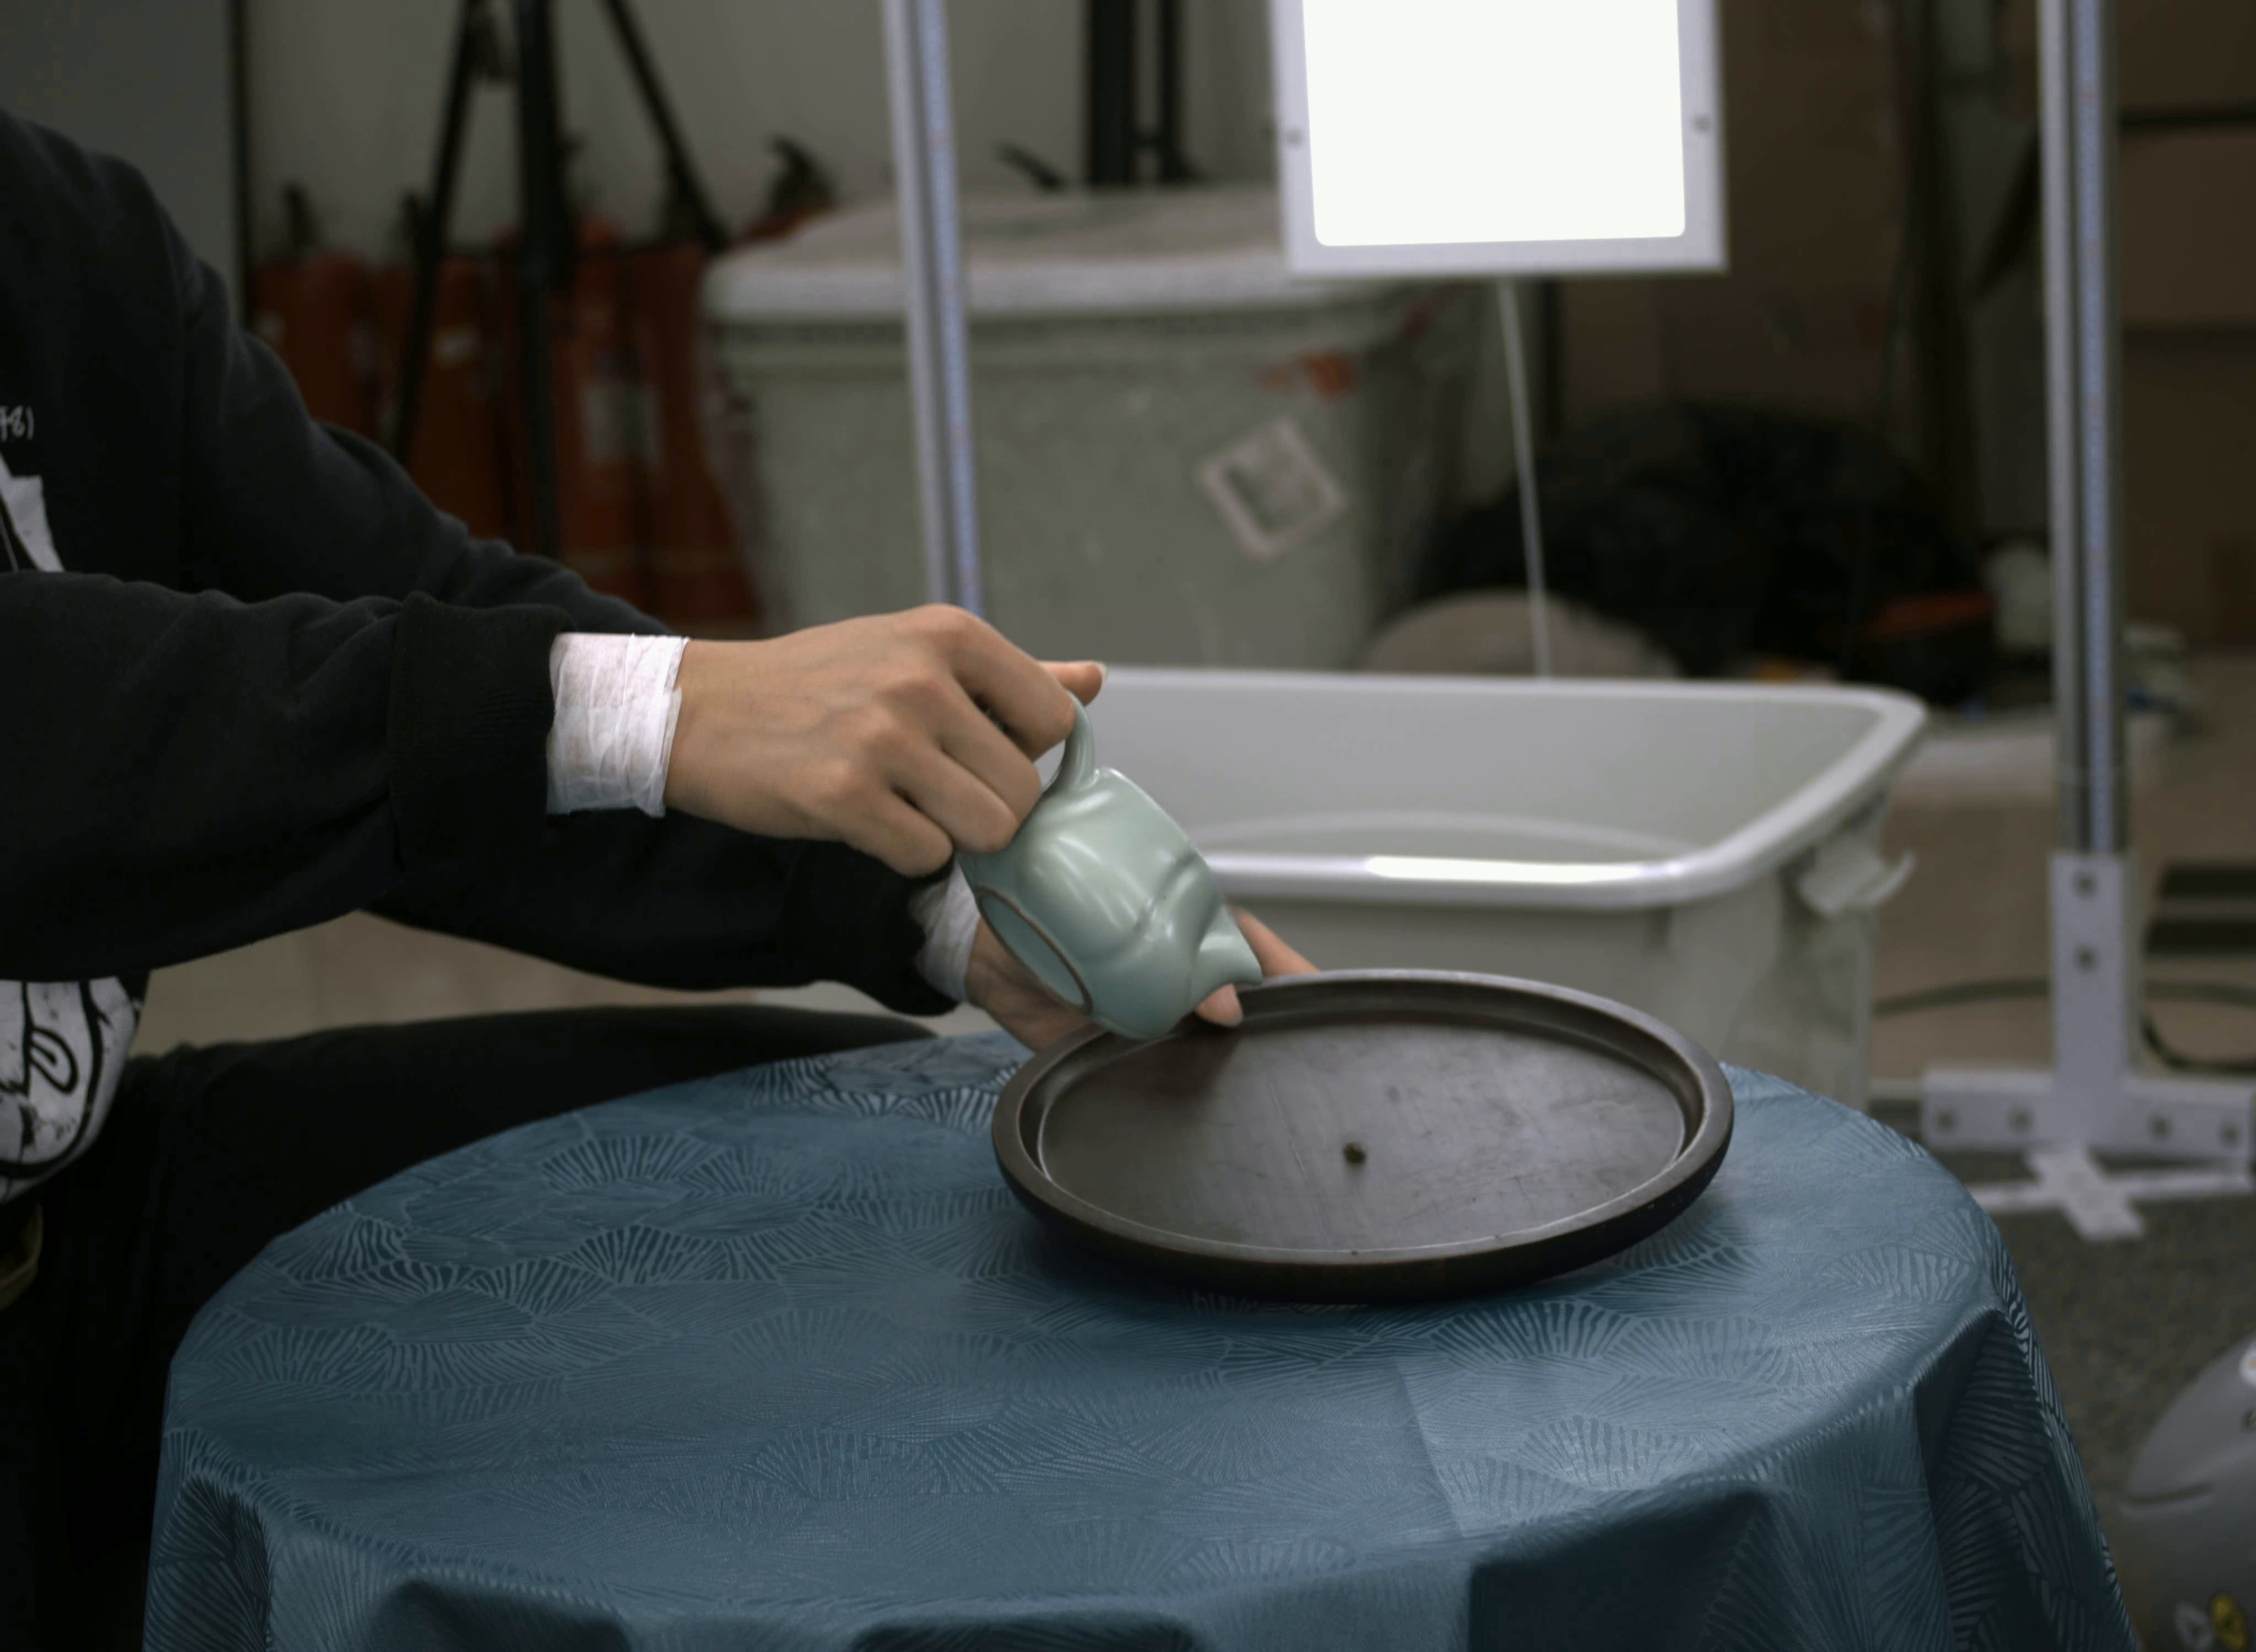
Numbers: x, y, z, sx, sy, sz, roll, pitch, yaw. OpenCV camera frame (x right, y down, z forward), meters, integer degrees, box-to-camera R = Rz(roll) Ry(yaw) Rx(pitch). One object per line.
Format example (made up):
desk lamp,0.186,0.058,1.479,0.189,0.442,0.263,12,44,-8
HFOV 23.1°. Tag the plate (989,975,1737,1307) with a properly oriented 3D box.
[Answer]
plate,0.080,0.104,1.861,0.254,0.029,0.254,-4,21,0

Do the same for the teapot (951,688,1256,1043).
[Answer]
teapot,-0.012,0.019,1.754,0.061,0.136,0.098,-42,27,-13
